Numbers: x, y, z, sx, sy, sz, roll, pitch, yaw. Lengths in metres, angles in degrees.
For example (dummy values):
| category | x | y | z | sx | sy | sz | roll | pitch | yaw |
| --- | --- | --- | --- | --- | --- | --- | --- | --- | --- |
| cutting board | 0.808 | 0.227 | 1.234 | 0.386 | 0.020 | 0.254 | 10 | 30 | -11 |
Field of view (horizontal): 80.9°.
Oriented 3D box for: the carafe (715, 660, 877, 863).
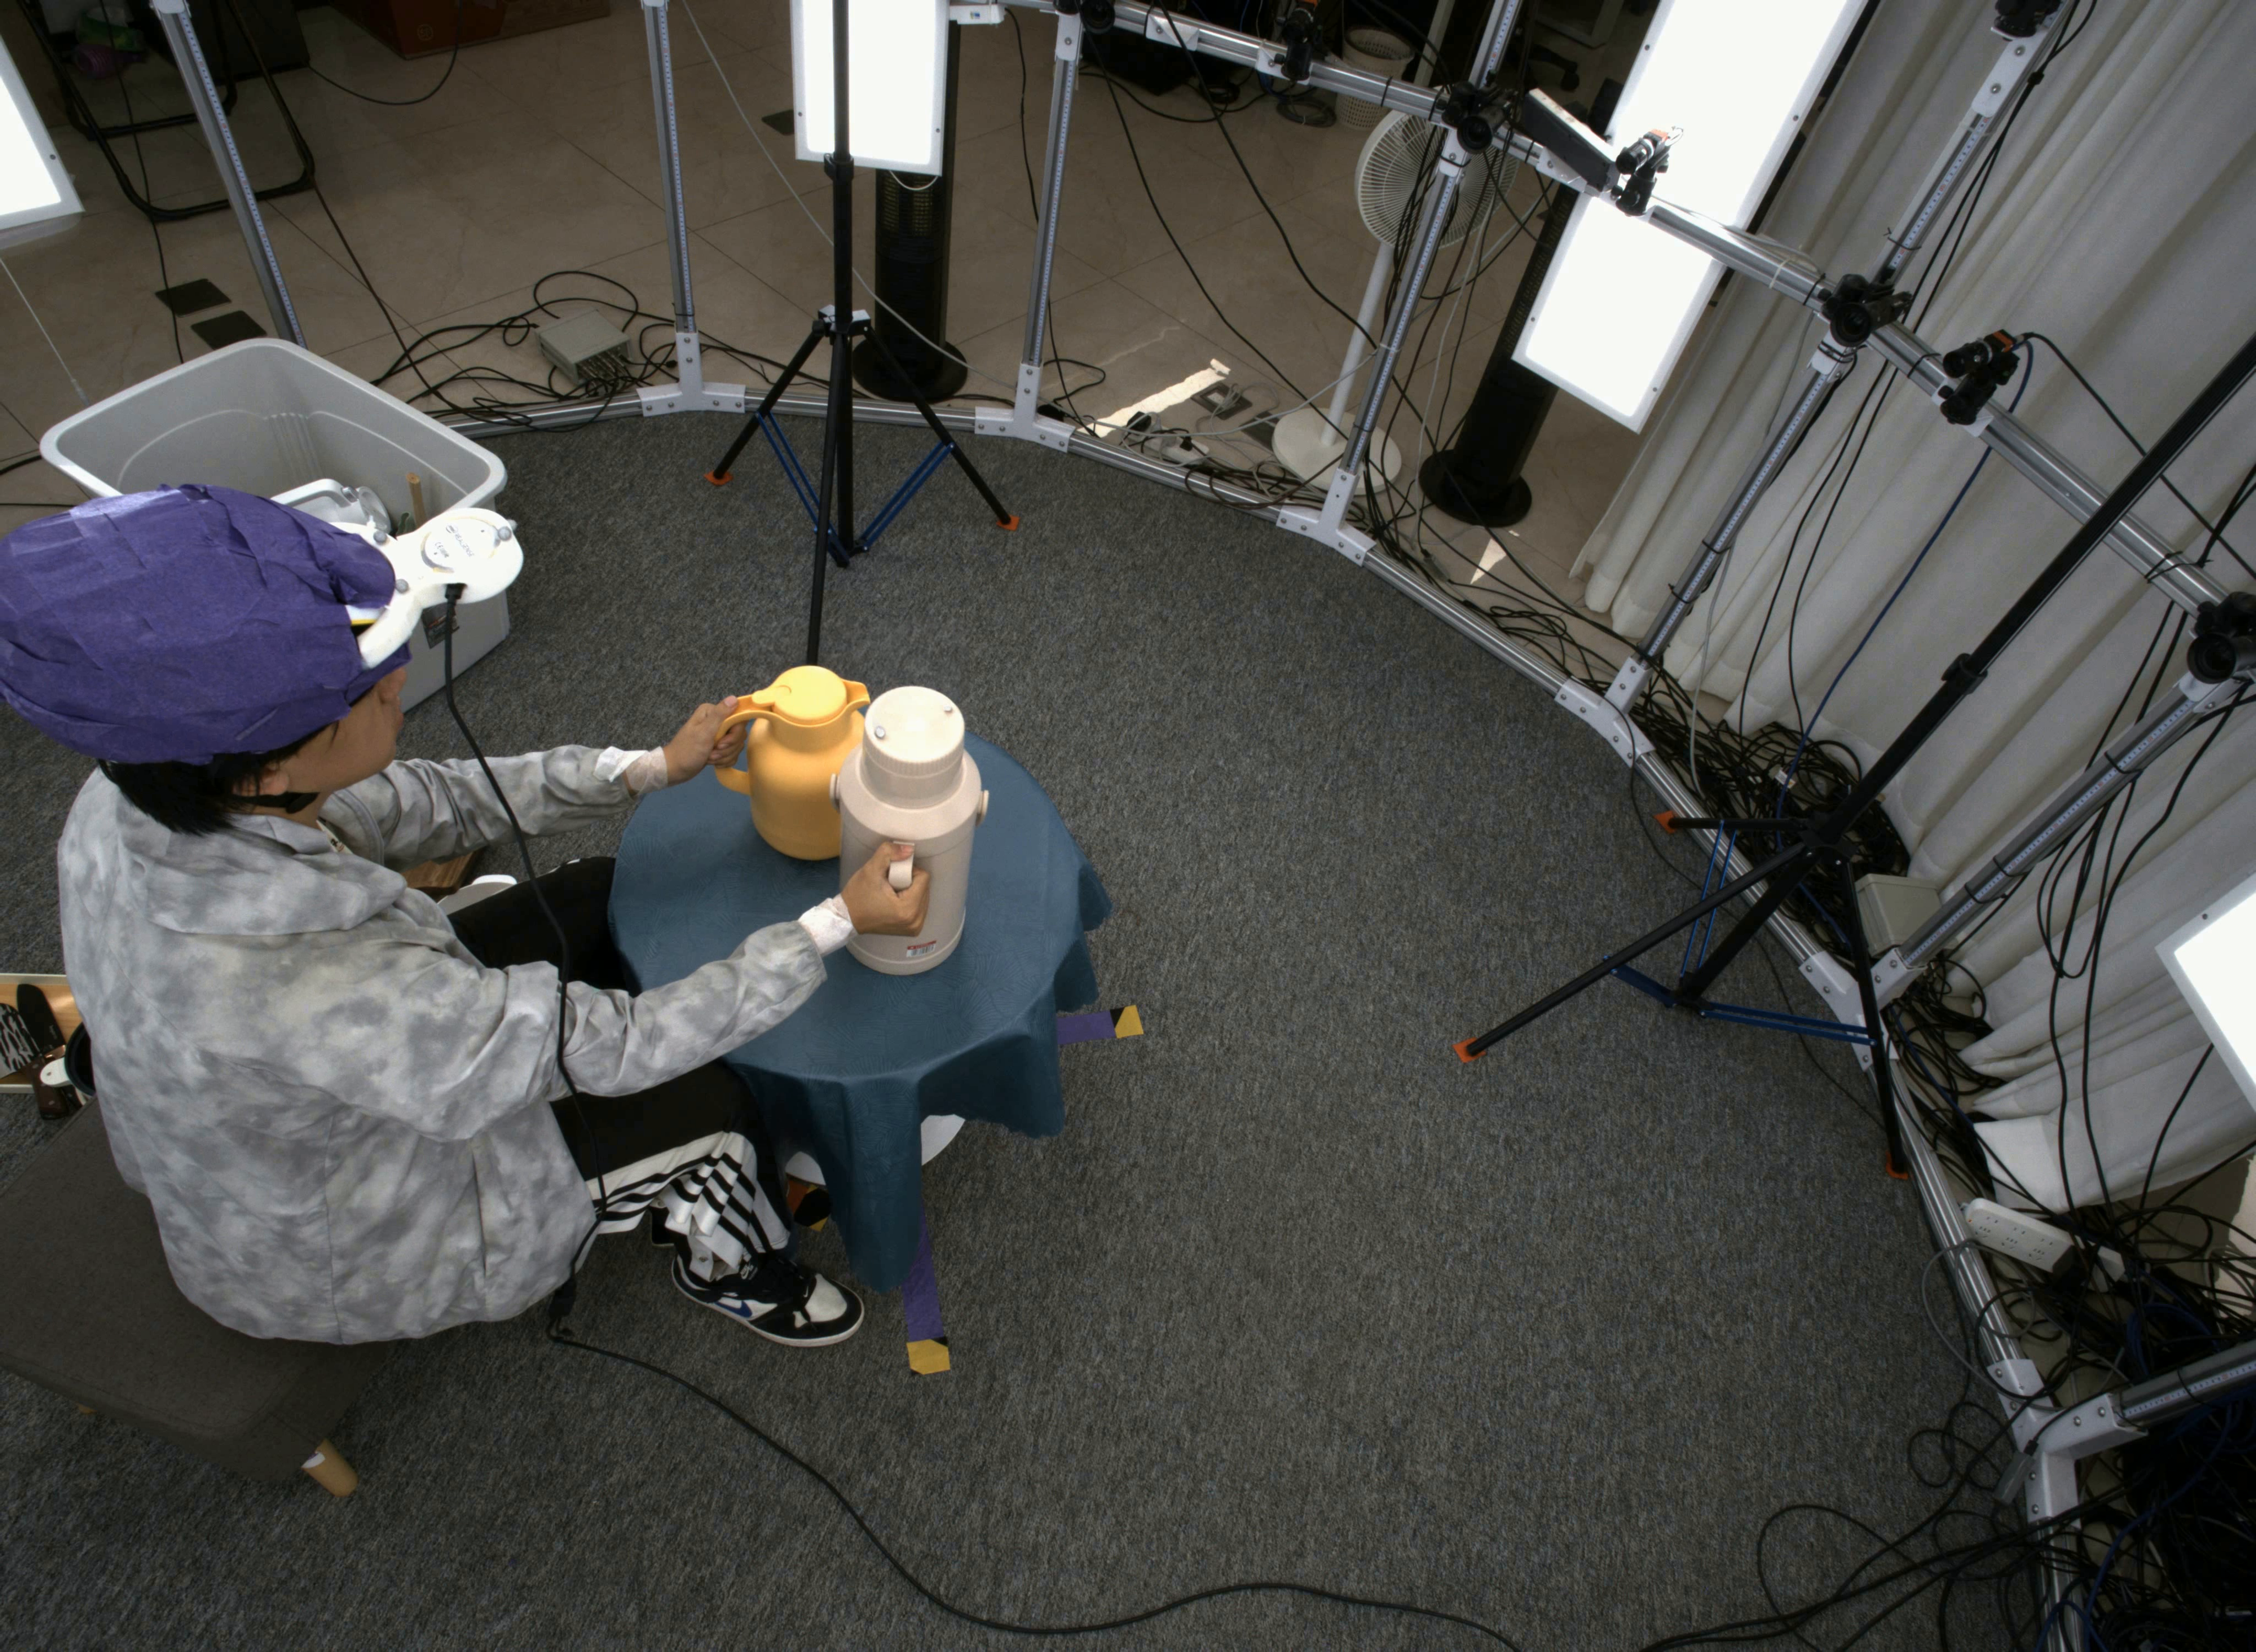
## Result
| category | x | y | z | sx | sy | sz | roll | pitch | yaw |
| --- | --- | --- | --- | --- | --- | --- | --- | --- | --- |
| carafe | -0.410 | -0.085 | 1.624 | 0.203 | 0.266 | 0.159 | -6 | 52 | -17 |

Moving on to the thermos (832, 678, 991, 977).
| category | x | y | z | sx | sy | sz | roll | pitch | yaw |
| --- | --- | --- | --- | --- | --- | --- | --- | --- | --- |
| thermos | -0.253 | 0.017 | 1.495 | 0.175 | 0.414 | 0.203 | 6 | 54 | -9 |
